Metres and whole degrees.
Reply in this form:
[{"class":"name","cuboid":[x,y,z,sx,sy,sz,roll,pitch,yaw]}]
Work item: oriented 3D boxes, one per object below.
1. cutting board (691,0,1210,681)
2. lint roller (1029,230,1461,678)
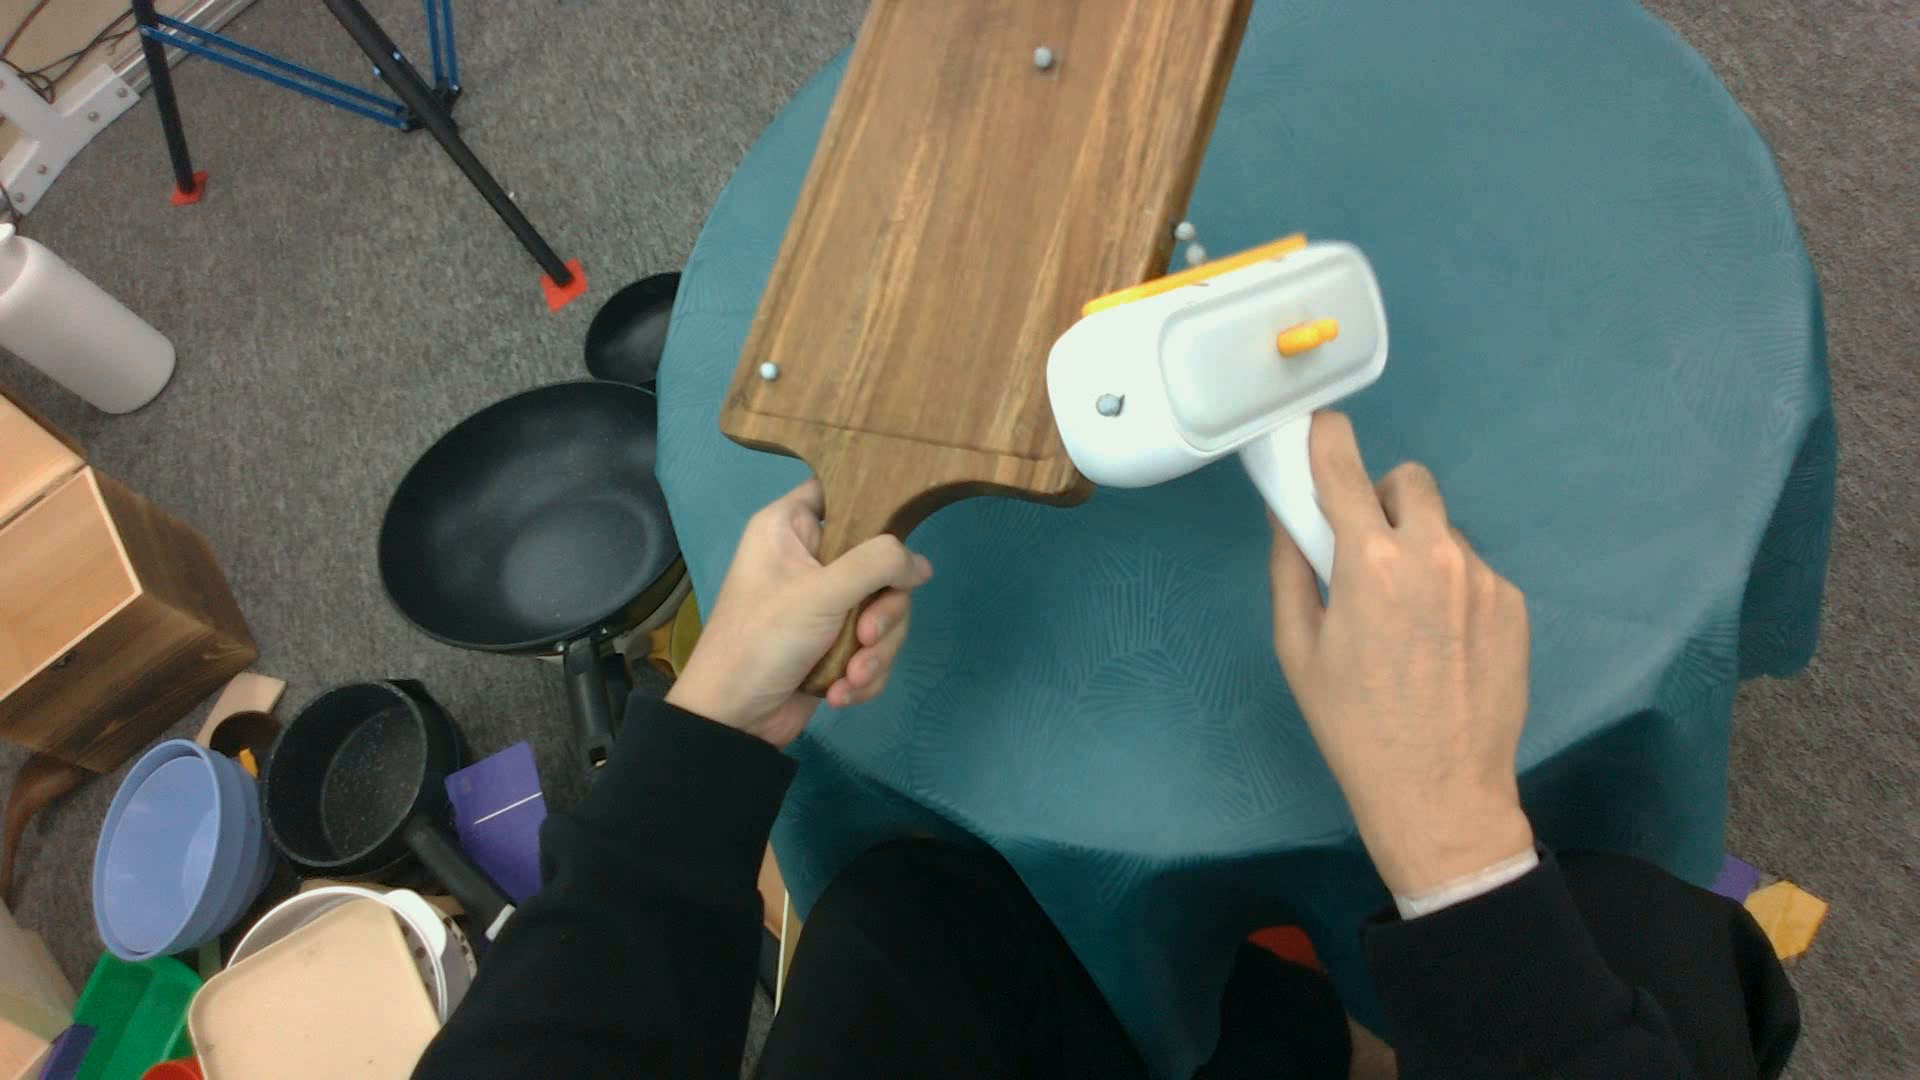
[{"class":"cutting board","cuboid":[-0.020,-0.111,0.601,0.201,0.023,0.352,11,79,31]},{"class":"lint roller","cuboid":[0.129,-0.027,0.547,0.074,0.194,0.192,-26,92,39]}]
